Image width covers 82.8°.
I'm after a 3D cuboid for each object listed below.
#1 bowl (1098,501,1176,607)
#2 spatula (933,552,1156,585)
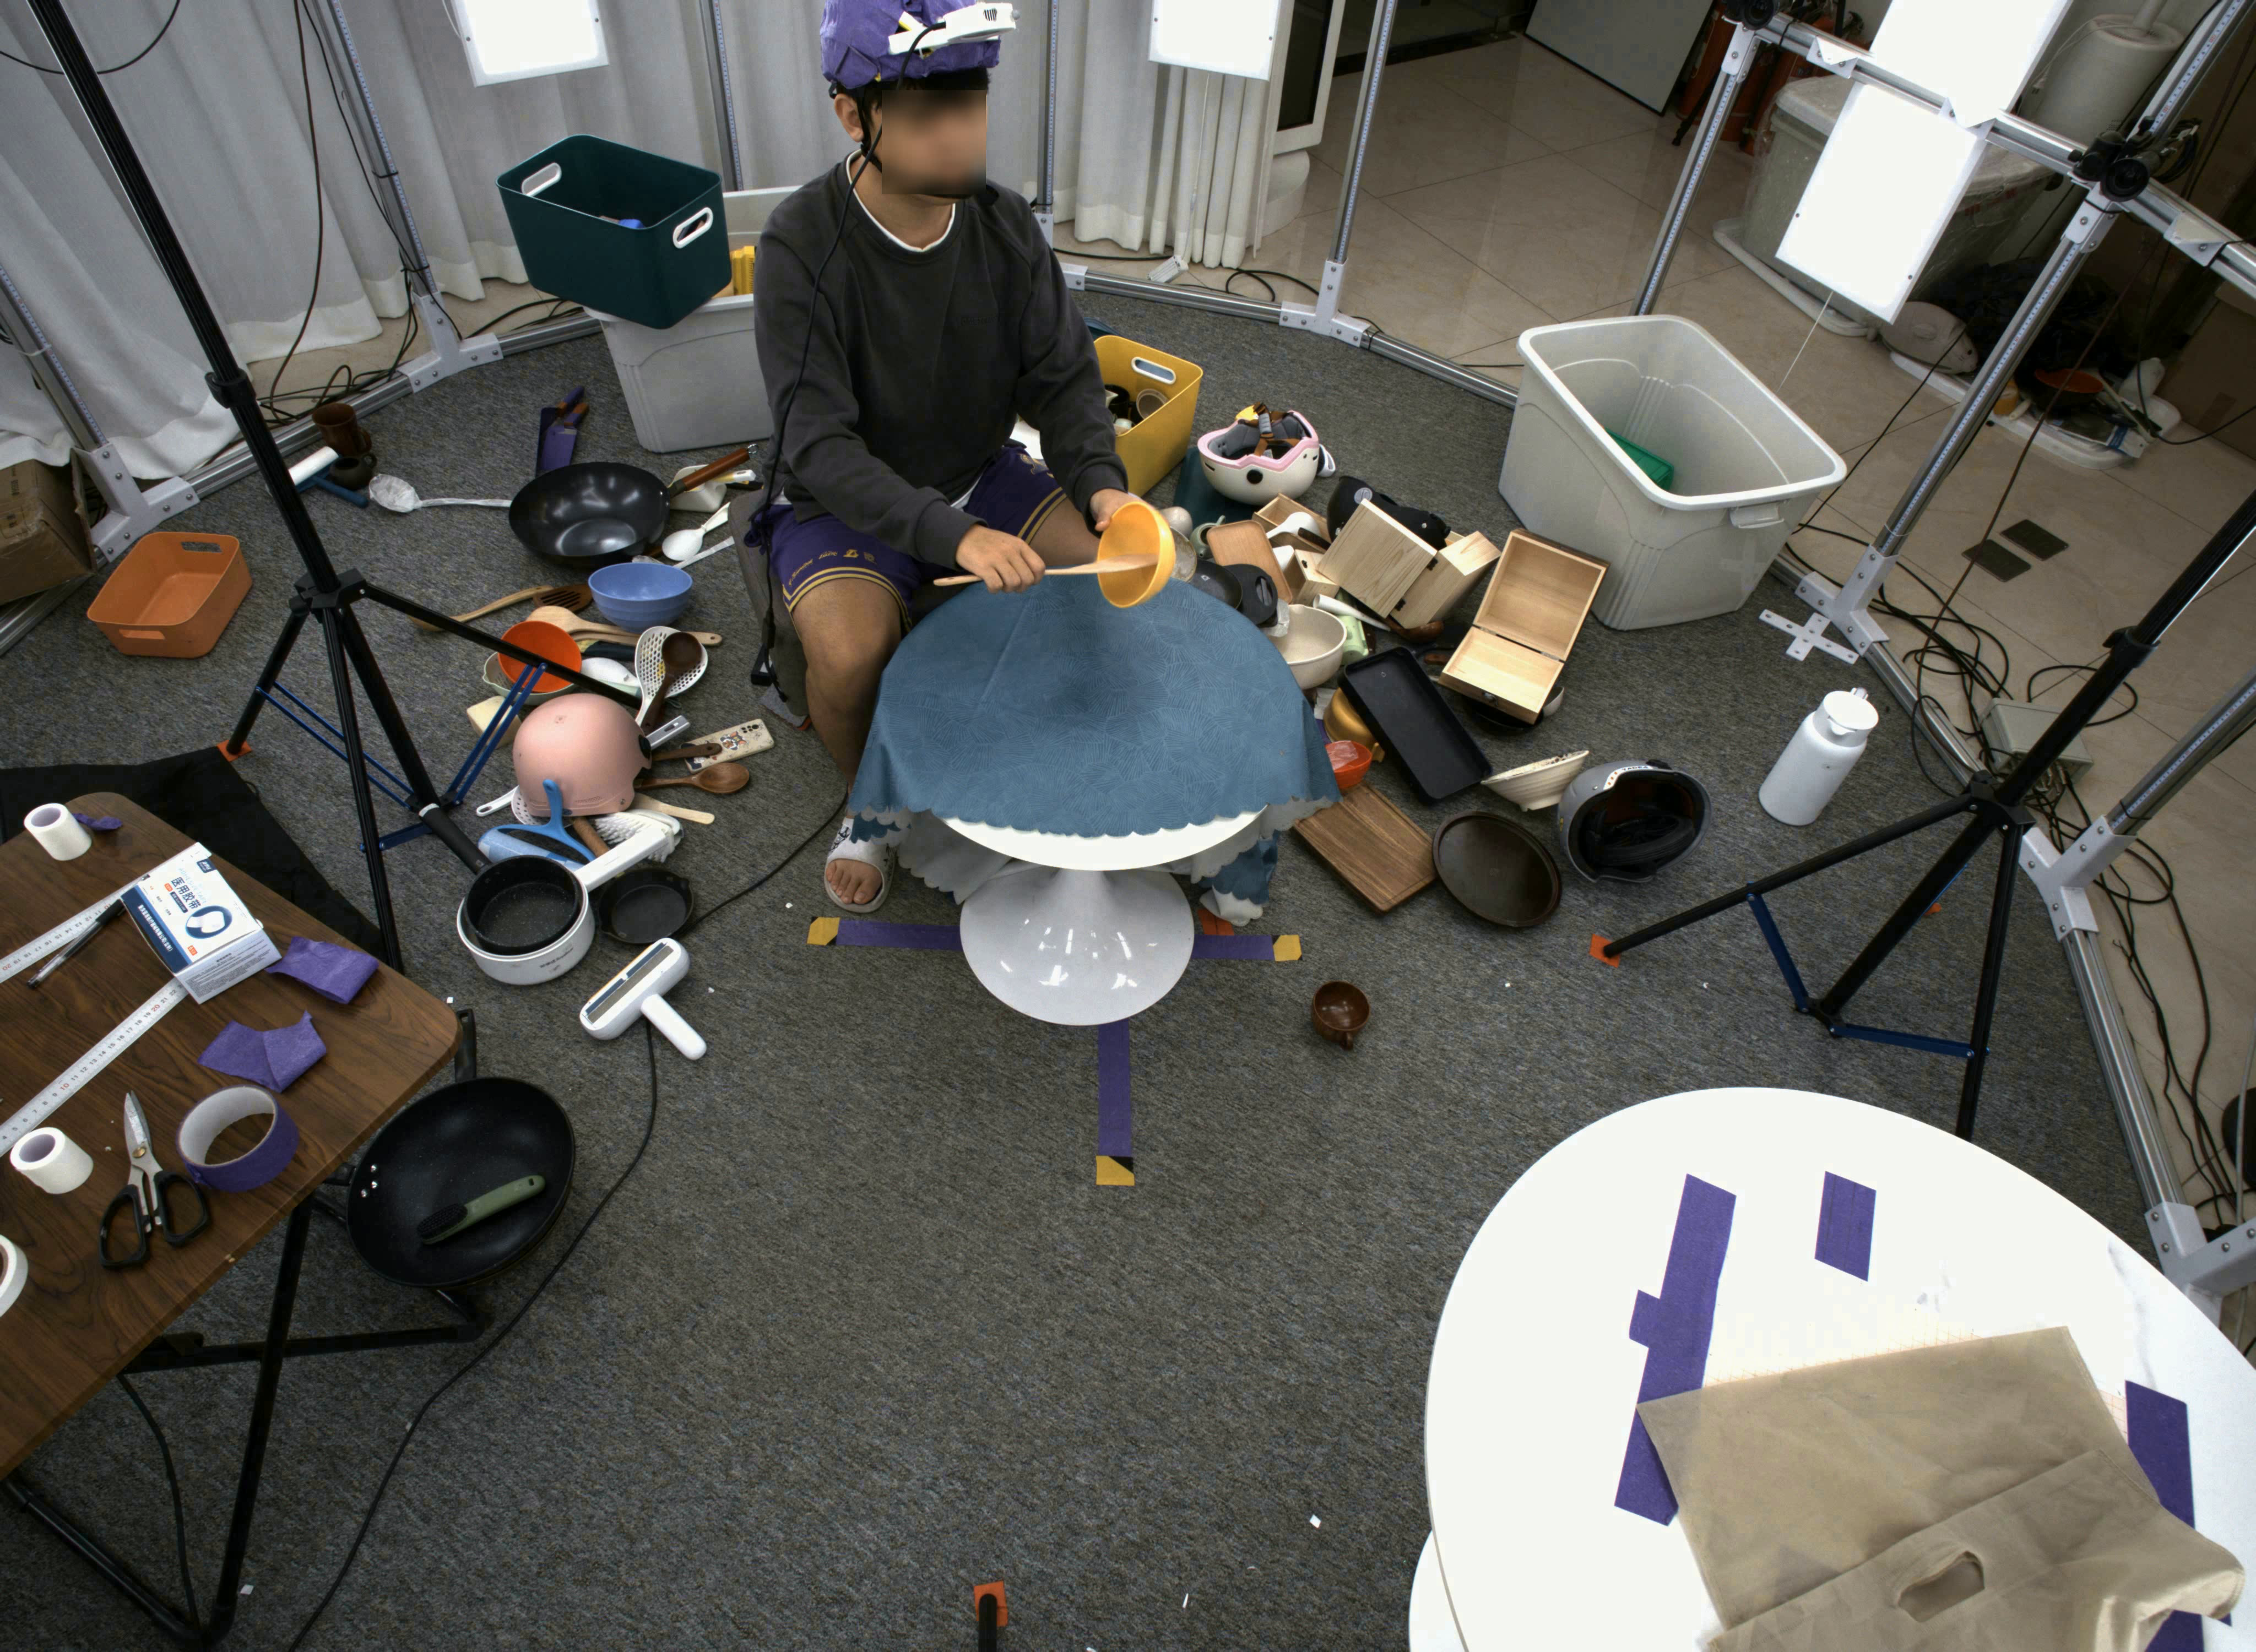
[{"bbox_3d":[0.023,-0.370,1.781,0.059,0.143,0.149,7,43,-35],"label":"bowl"},{"bbox_3d":[-0.103,-0.345,1.726,0.327,0.016,0.081,-11,23,-24],"label":"spatula"}]
